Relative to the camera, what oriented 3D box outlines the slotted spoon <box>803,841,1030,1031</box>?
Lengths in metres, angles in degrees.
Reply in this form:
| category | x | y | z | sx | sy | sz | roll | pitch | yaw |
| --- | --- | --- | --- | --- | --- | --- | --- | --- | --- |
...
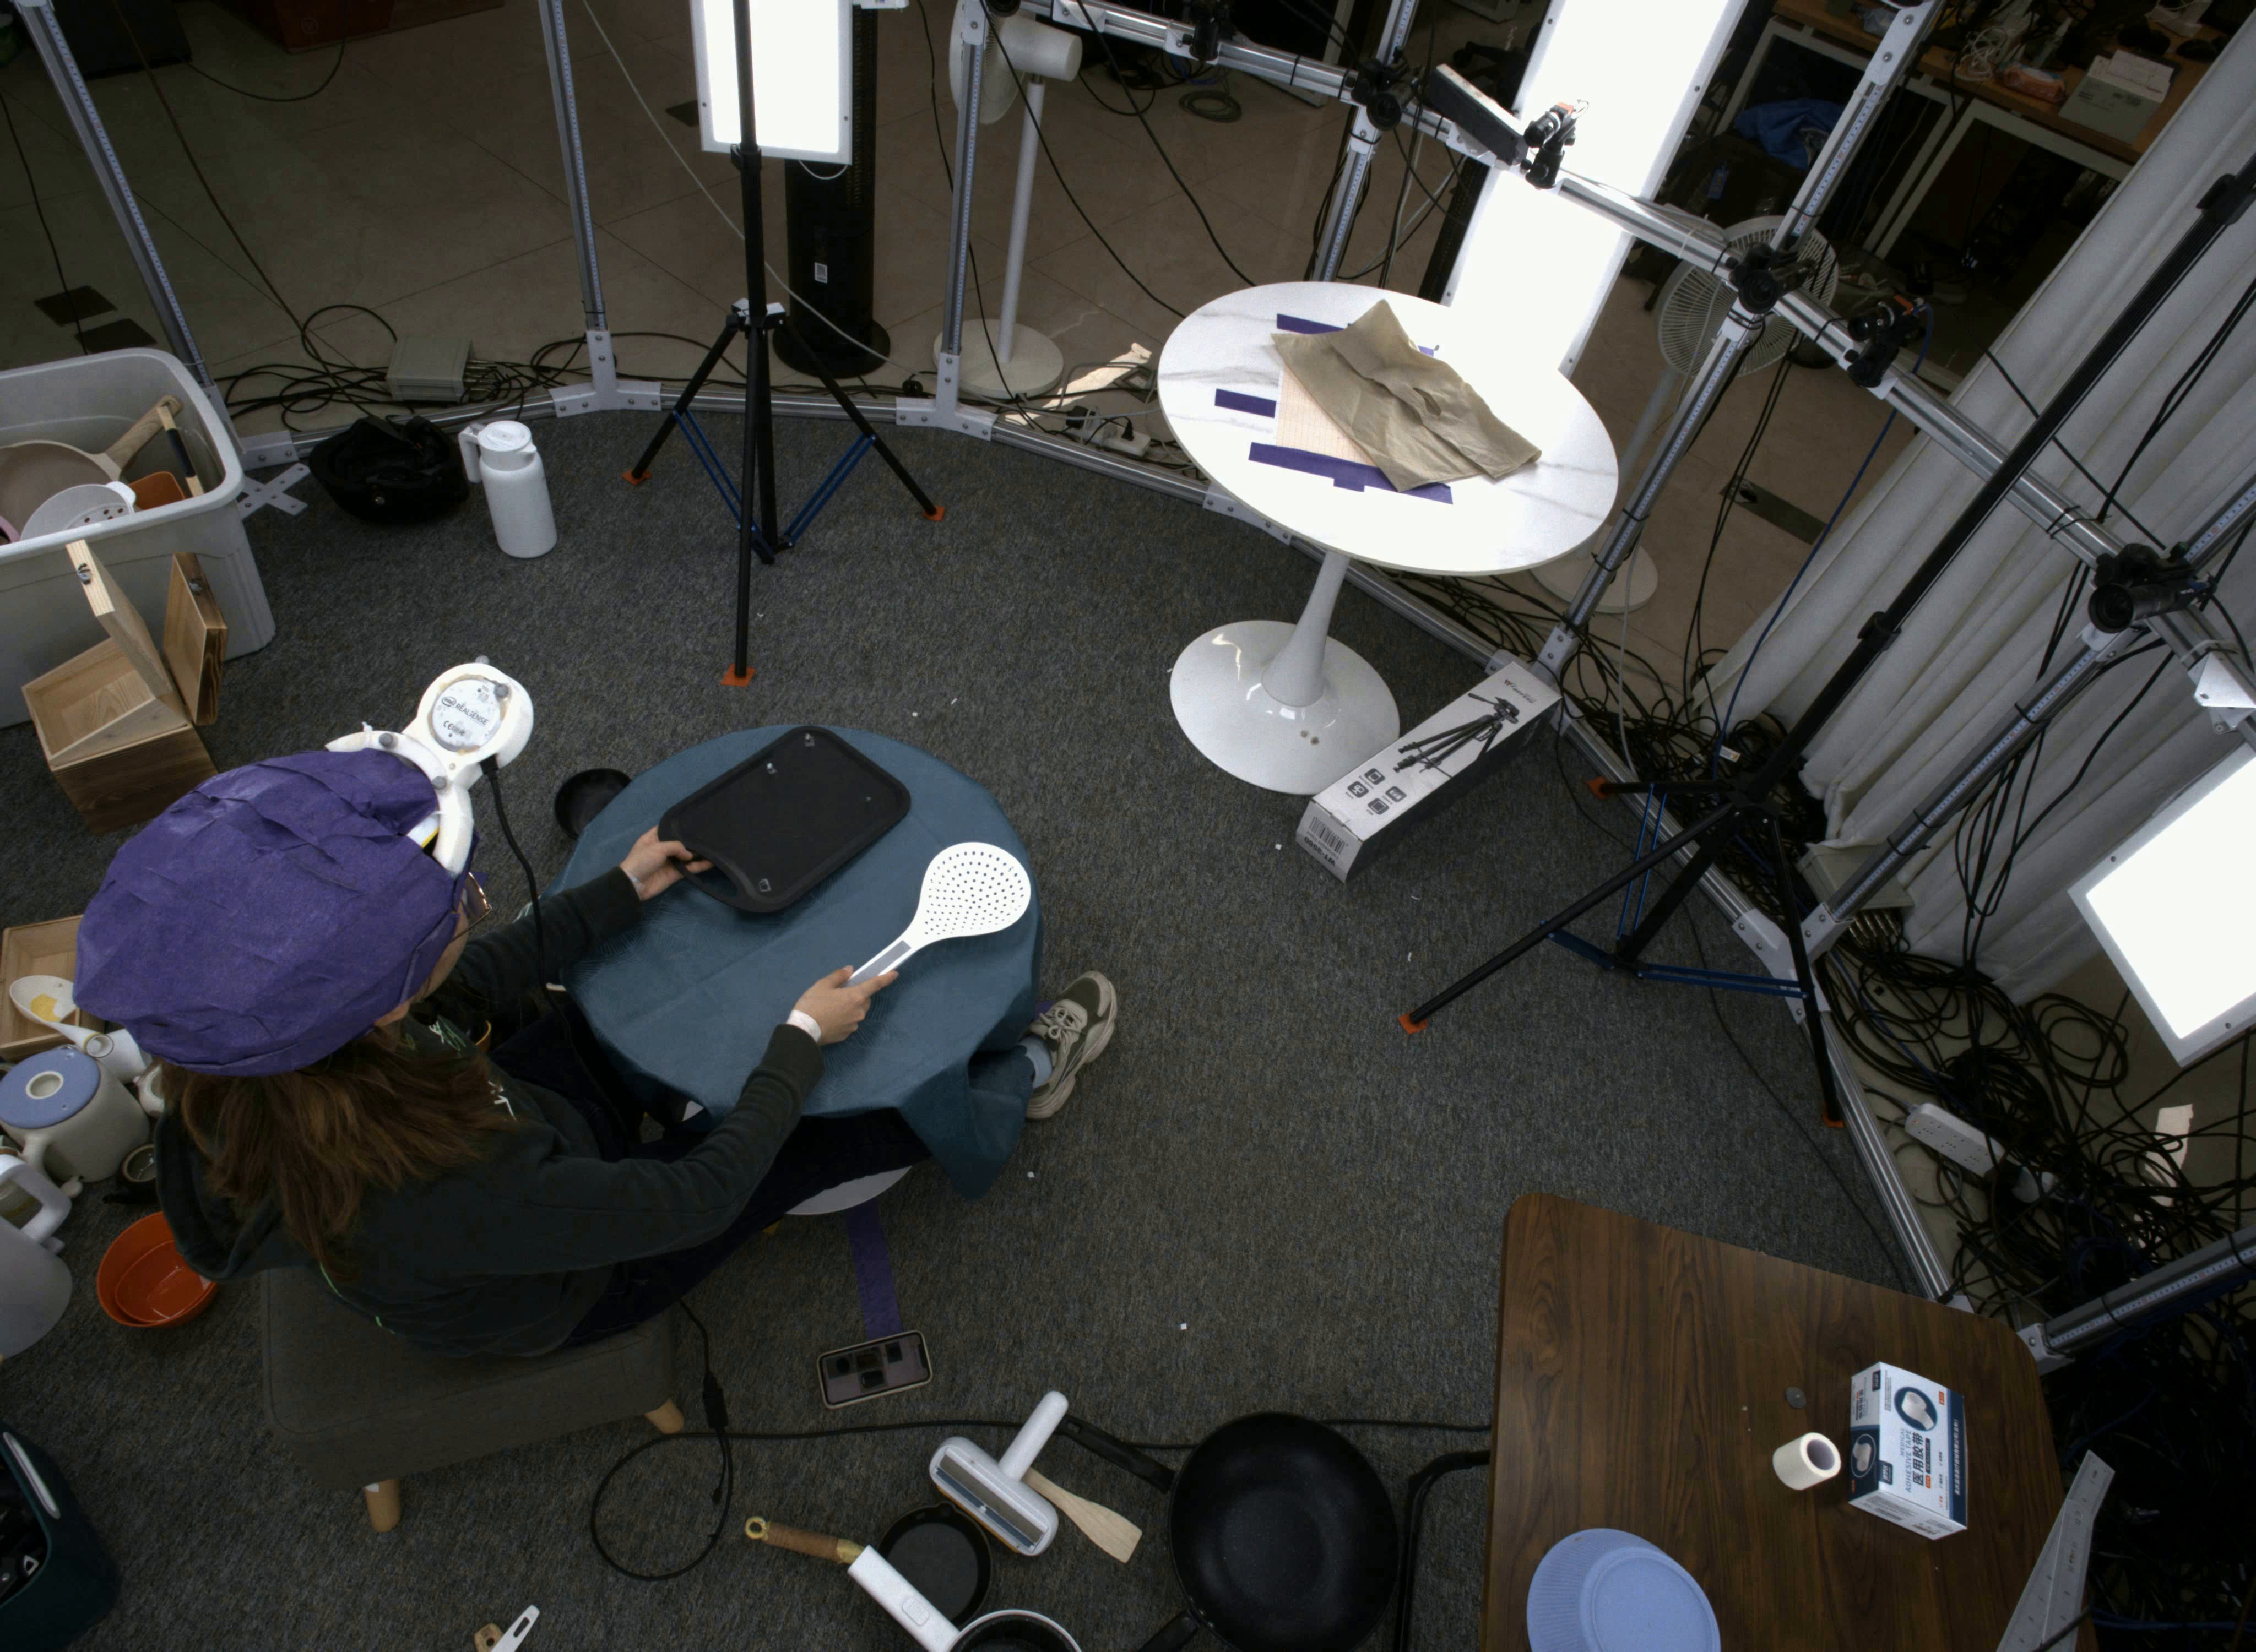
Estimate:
| category | x | y | z | sx | sy | sz | roll | pitch | yaw |
| --- | --- | --- | --- | --- | --- | --- | --- | --- | --- |
| slotted spoon | -0.263 | 0.137 | 1.620 | 0.133 | 0.046 | 0.350 | 41 | 50 | 13 |

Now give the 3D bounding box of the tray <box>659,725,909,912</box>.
| category | x | y | z | sx | sy | sz | roll | pitch | yaw |
| --- | --- | --- | --- | --- | --- | --- | --- | --- | --- |
| tray | -0.452 | -0.015 | 1.703 | 0.208 | 0.010 | 0.325 | 37 | 47 | 10 |
